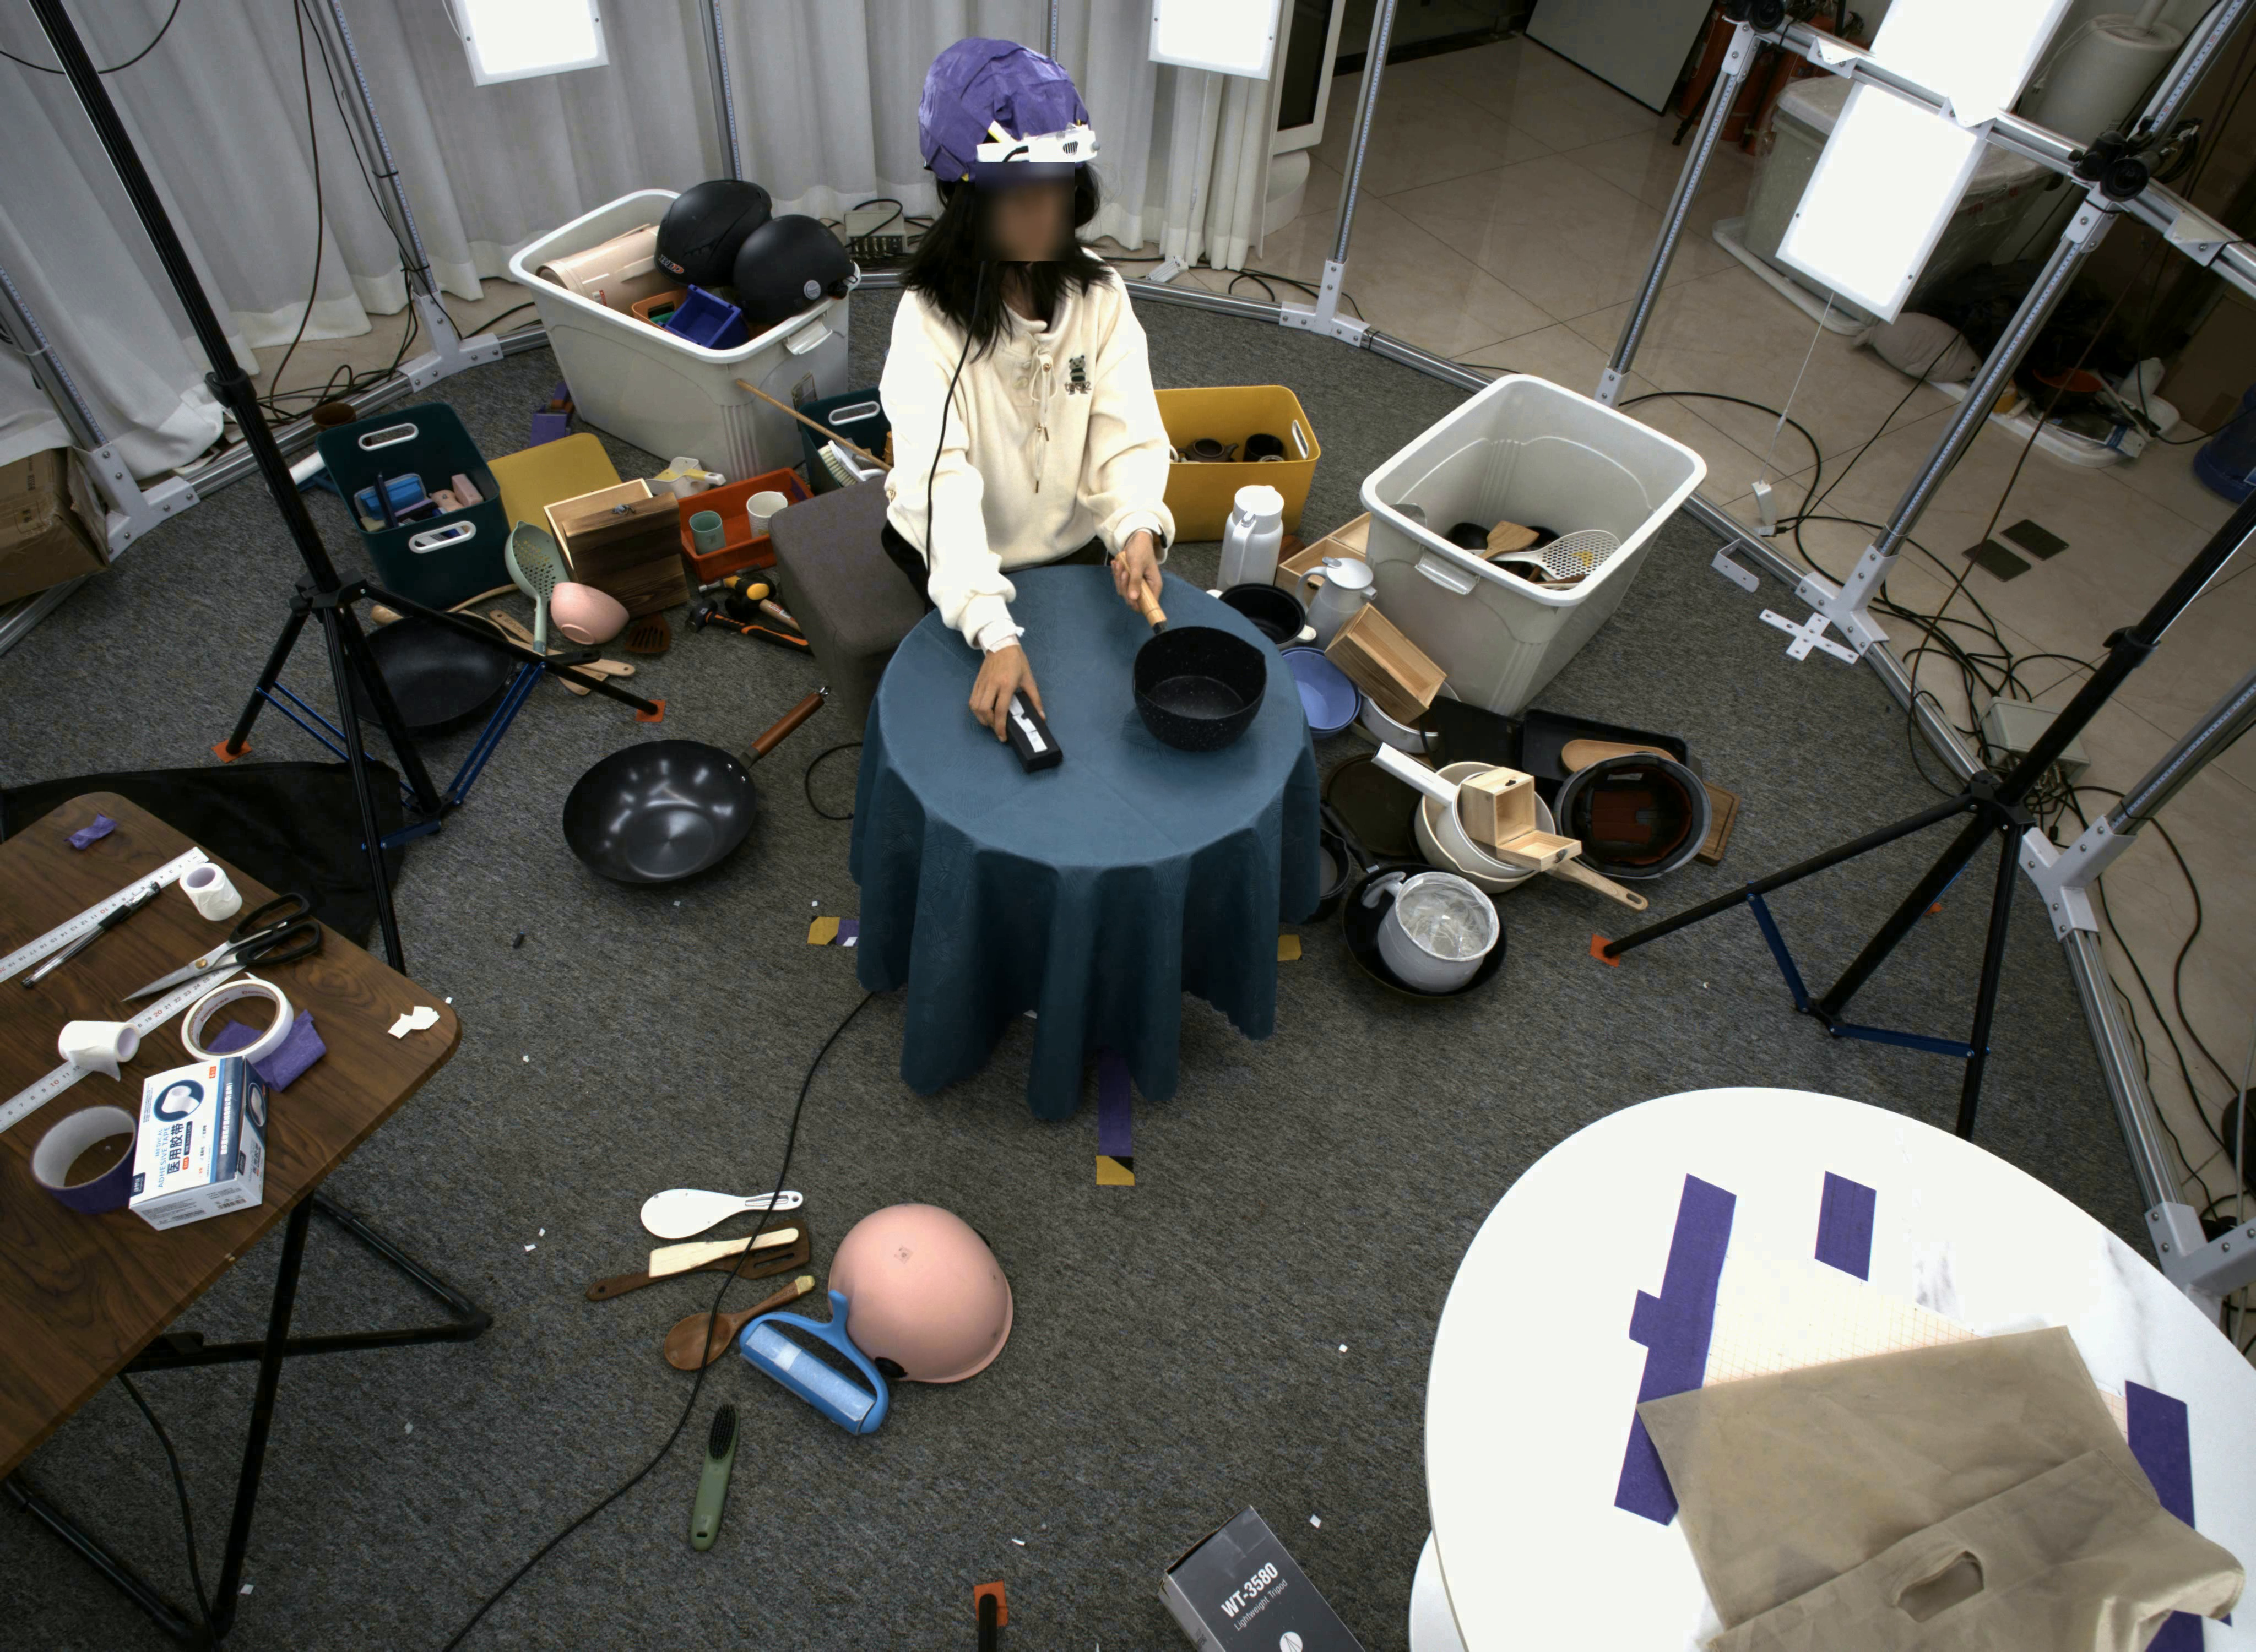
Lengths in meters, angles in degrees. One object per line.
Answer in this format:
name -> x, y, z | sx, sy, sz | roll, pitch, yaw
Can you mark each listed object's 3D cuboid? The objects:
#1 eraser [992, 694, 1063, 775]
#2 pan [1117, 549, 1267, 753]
eraser -> -0.137, -0.126, 1.751 | 0.053, 0.030, 0.128 | -18, 52, -19
pan -> 0.061, -0.249, 1.820 | 0.208, 0.105, 0.350 | -19, 54, -18
